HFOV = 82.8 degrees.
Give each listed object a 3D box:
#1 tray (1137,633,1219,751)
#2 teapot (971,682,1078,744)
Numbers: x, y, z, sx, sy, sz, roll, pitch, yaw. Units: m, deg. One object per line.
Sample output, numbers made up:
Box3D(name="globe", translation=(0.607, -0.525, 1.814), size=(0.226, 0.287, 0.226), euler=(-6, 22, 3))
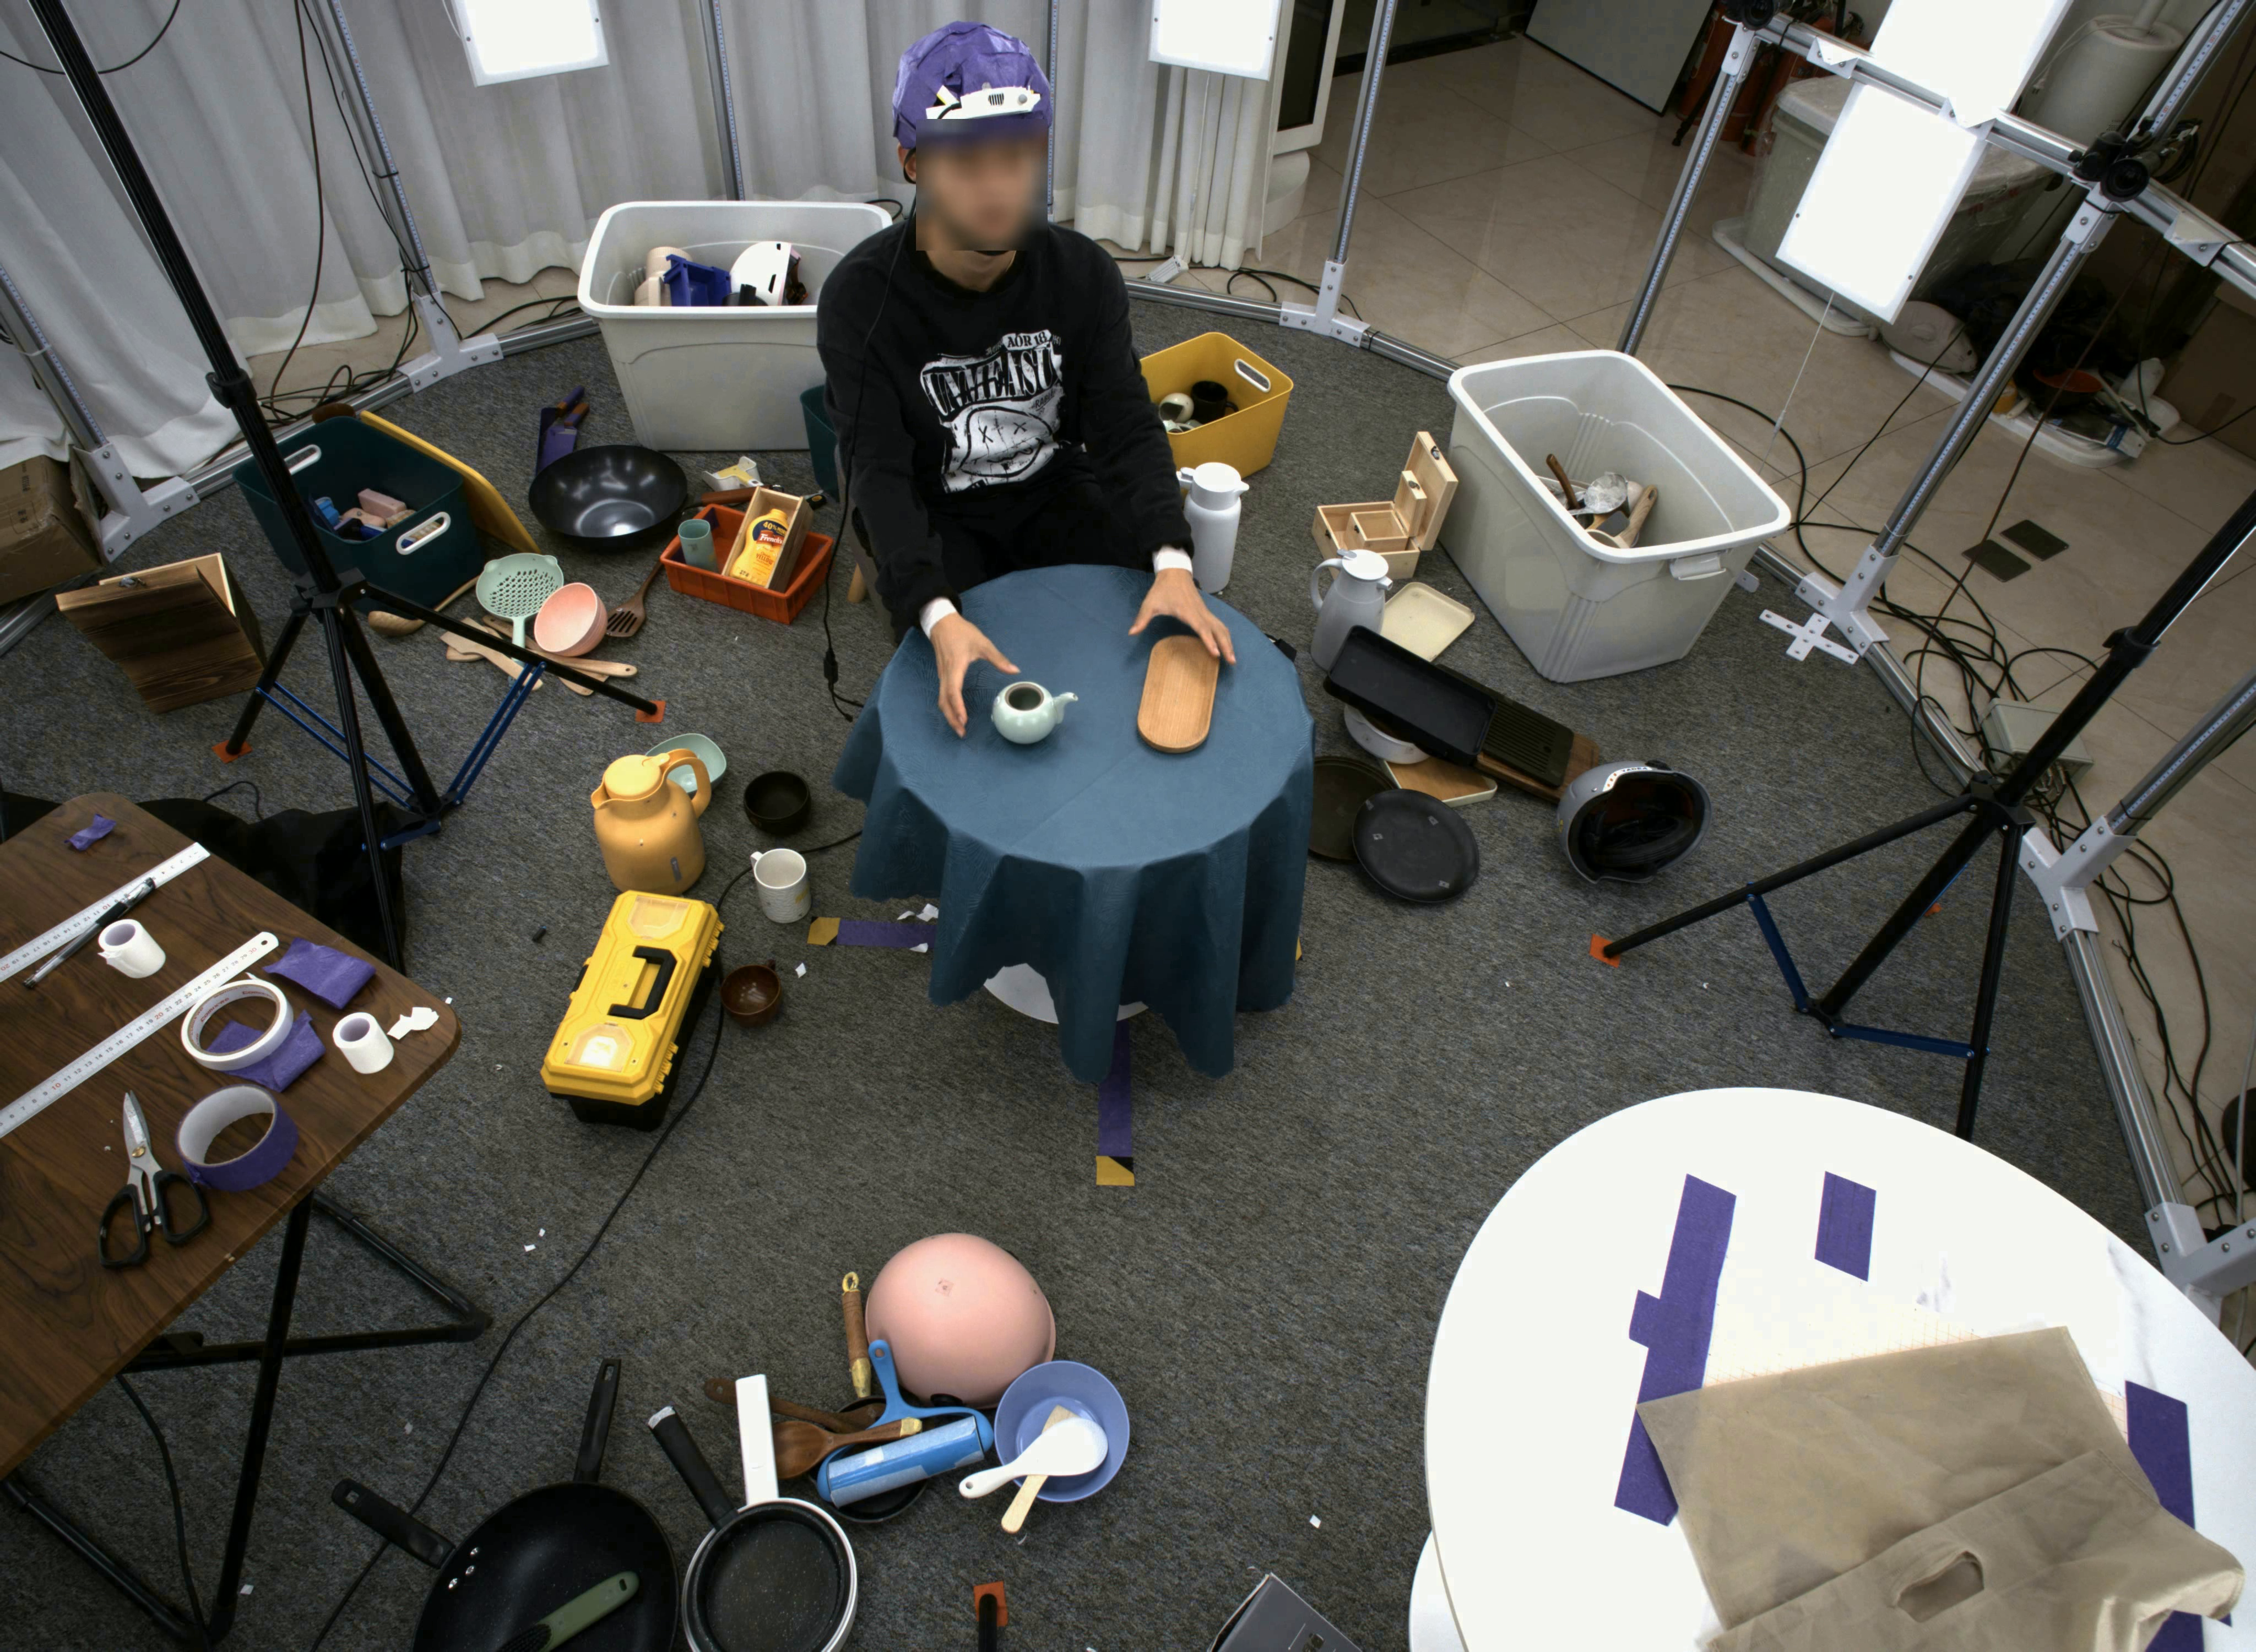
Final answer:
Box3D(name="tray", translation=(0.073, -0.194, 1.831), size=(0.102, 0.020, 0.236), euler=(9, 48, 2))
Box3D(name="teapot", translation=(-0.141, -0.155, 1.748), size=(0.143, 0.073, 0.090), euler=(3, 49, -3))
